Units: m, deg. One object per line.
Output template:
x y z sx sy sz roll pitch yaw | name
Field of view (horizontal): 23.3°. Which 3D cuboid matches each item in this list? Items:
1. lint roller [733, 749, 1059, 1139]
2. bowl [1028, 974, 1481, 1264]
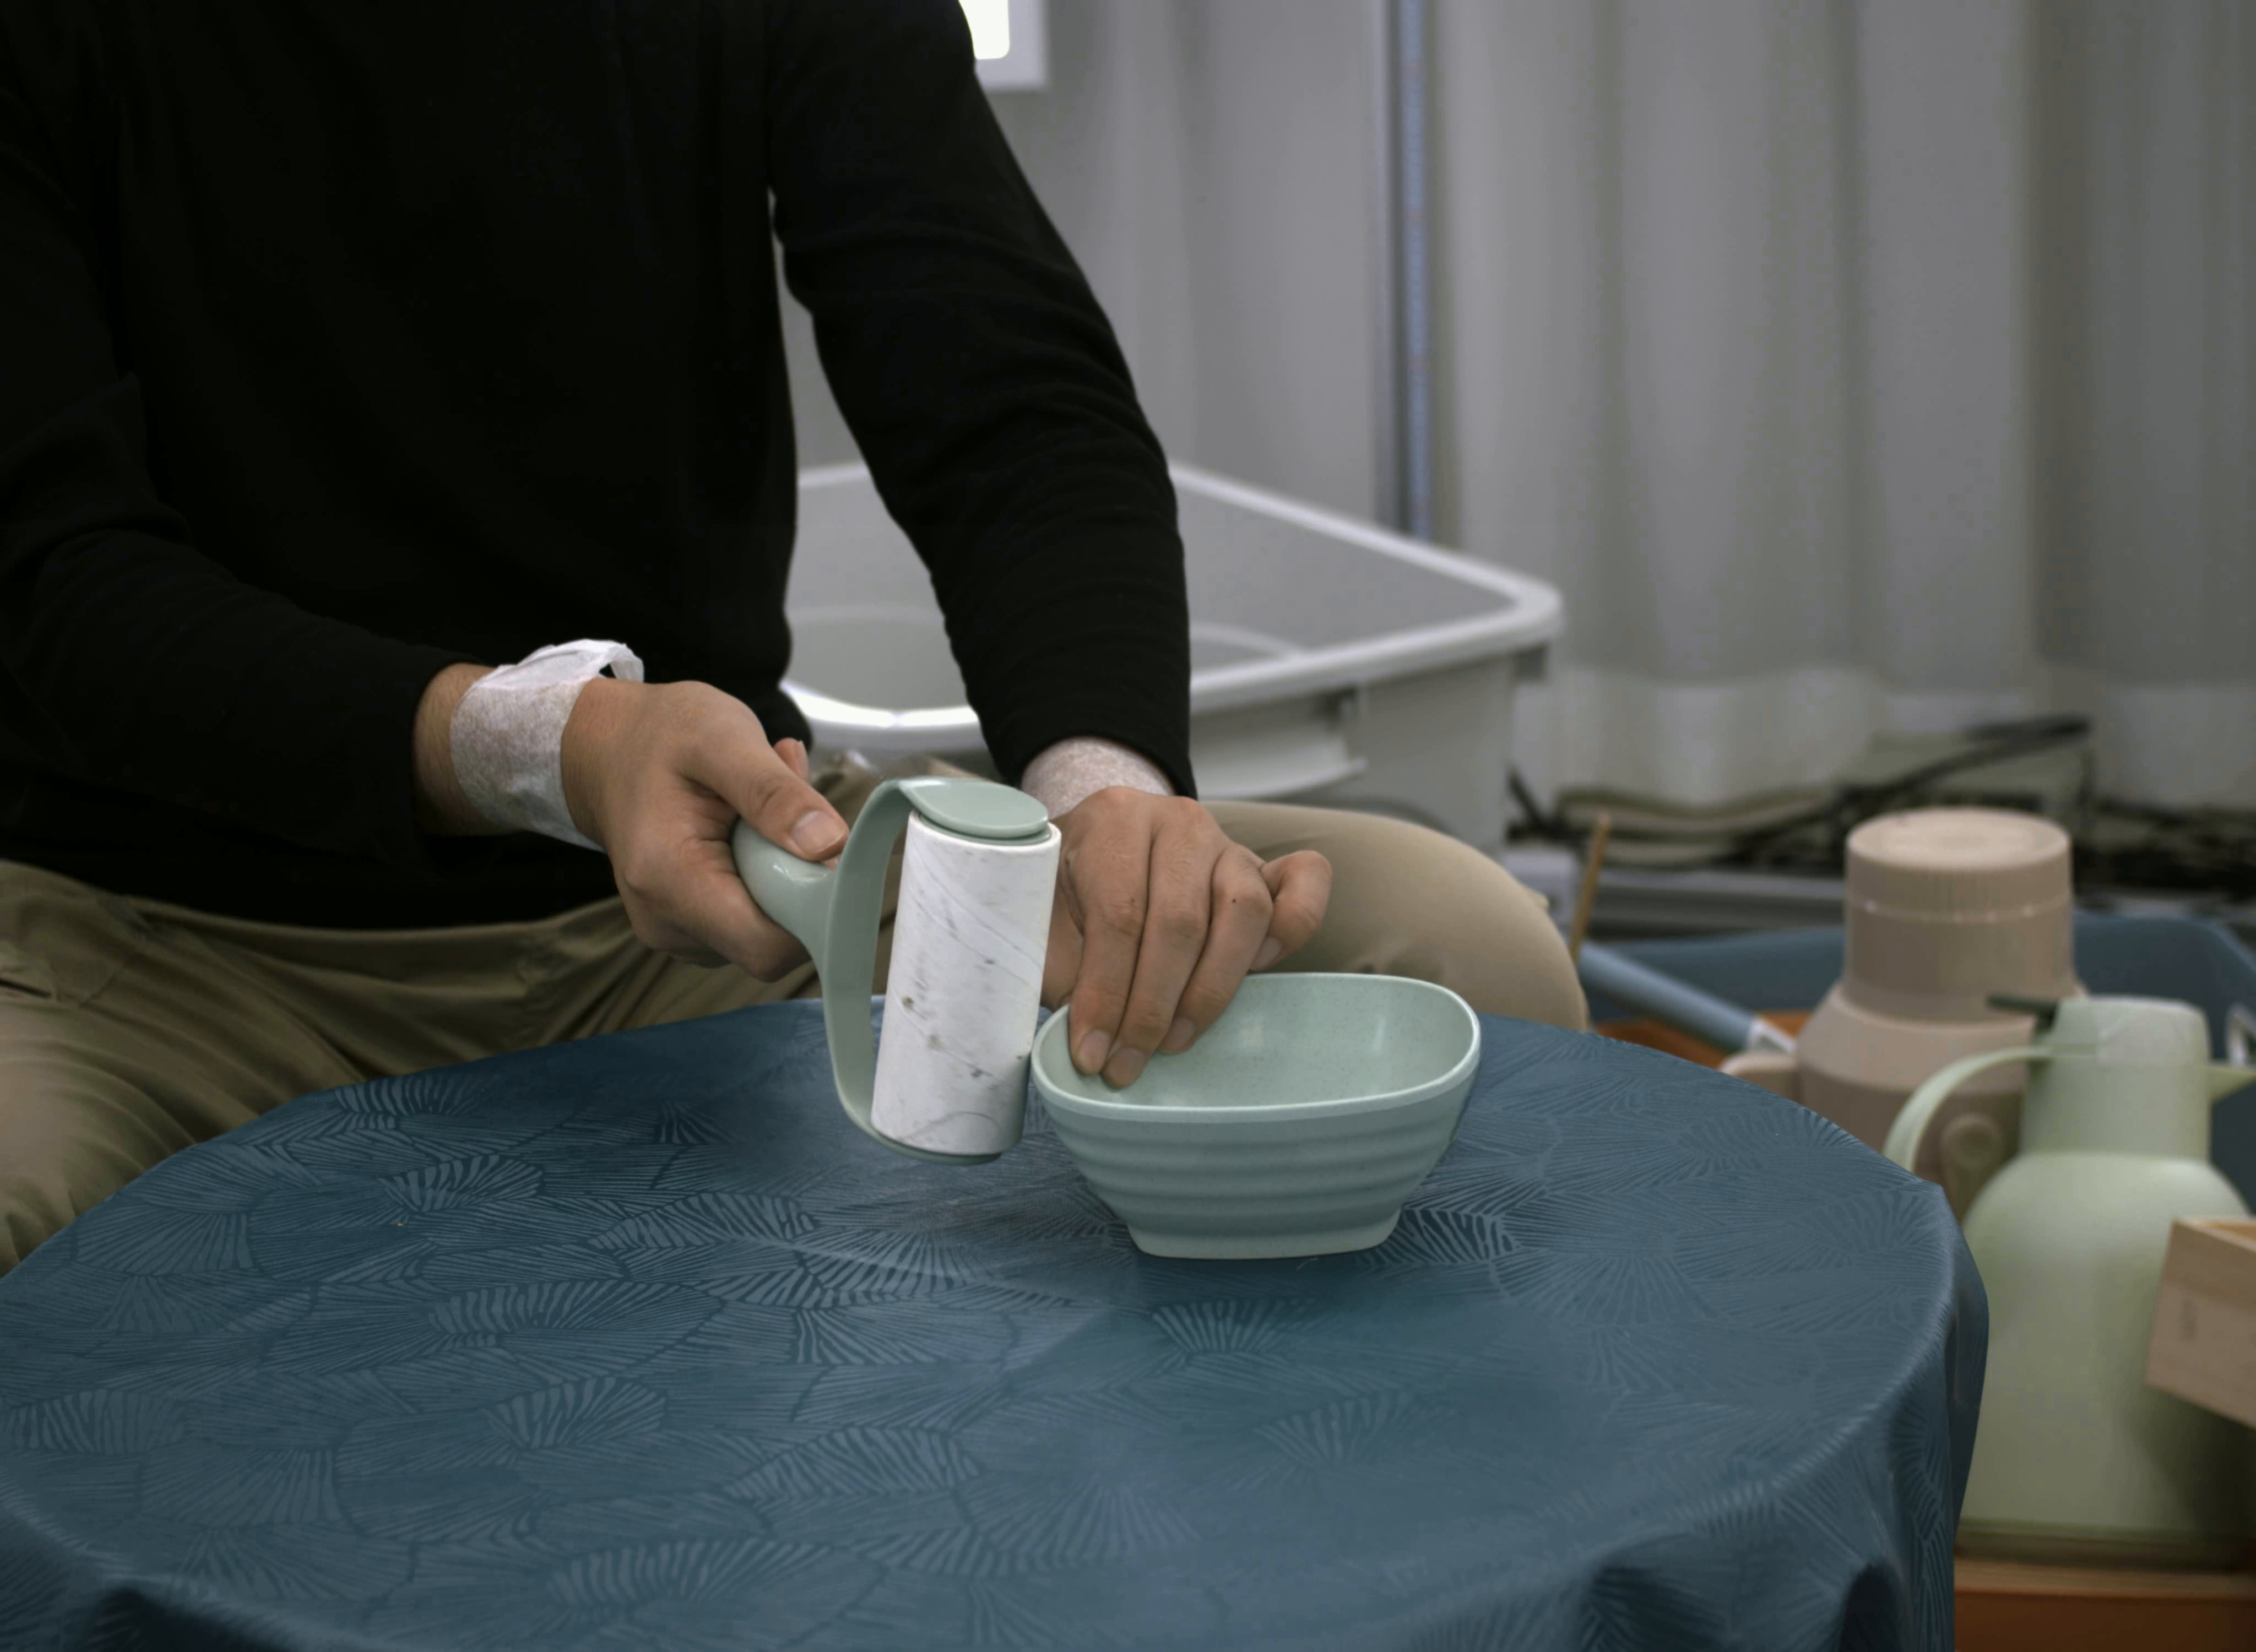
-0.087 0.016 1.733 0.048 0.116 0.199 -2 18 -32 | lint roller
0.039 0.093 1.680 0.151 0.058 0.152 -1 15 0 | bowl
